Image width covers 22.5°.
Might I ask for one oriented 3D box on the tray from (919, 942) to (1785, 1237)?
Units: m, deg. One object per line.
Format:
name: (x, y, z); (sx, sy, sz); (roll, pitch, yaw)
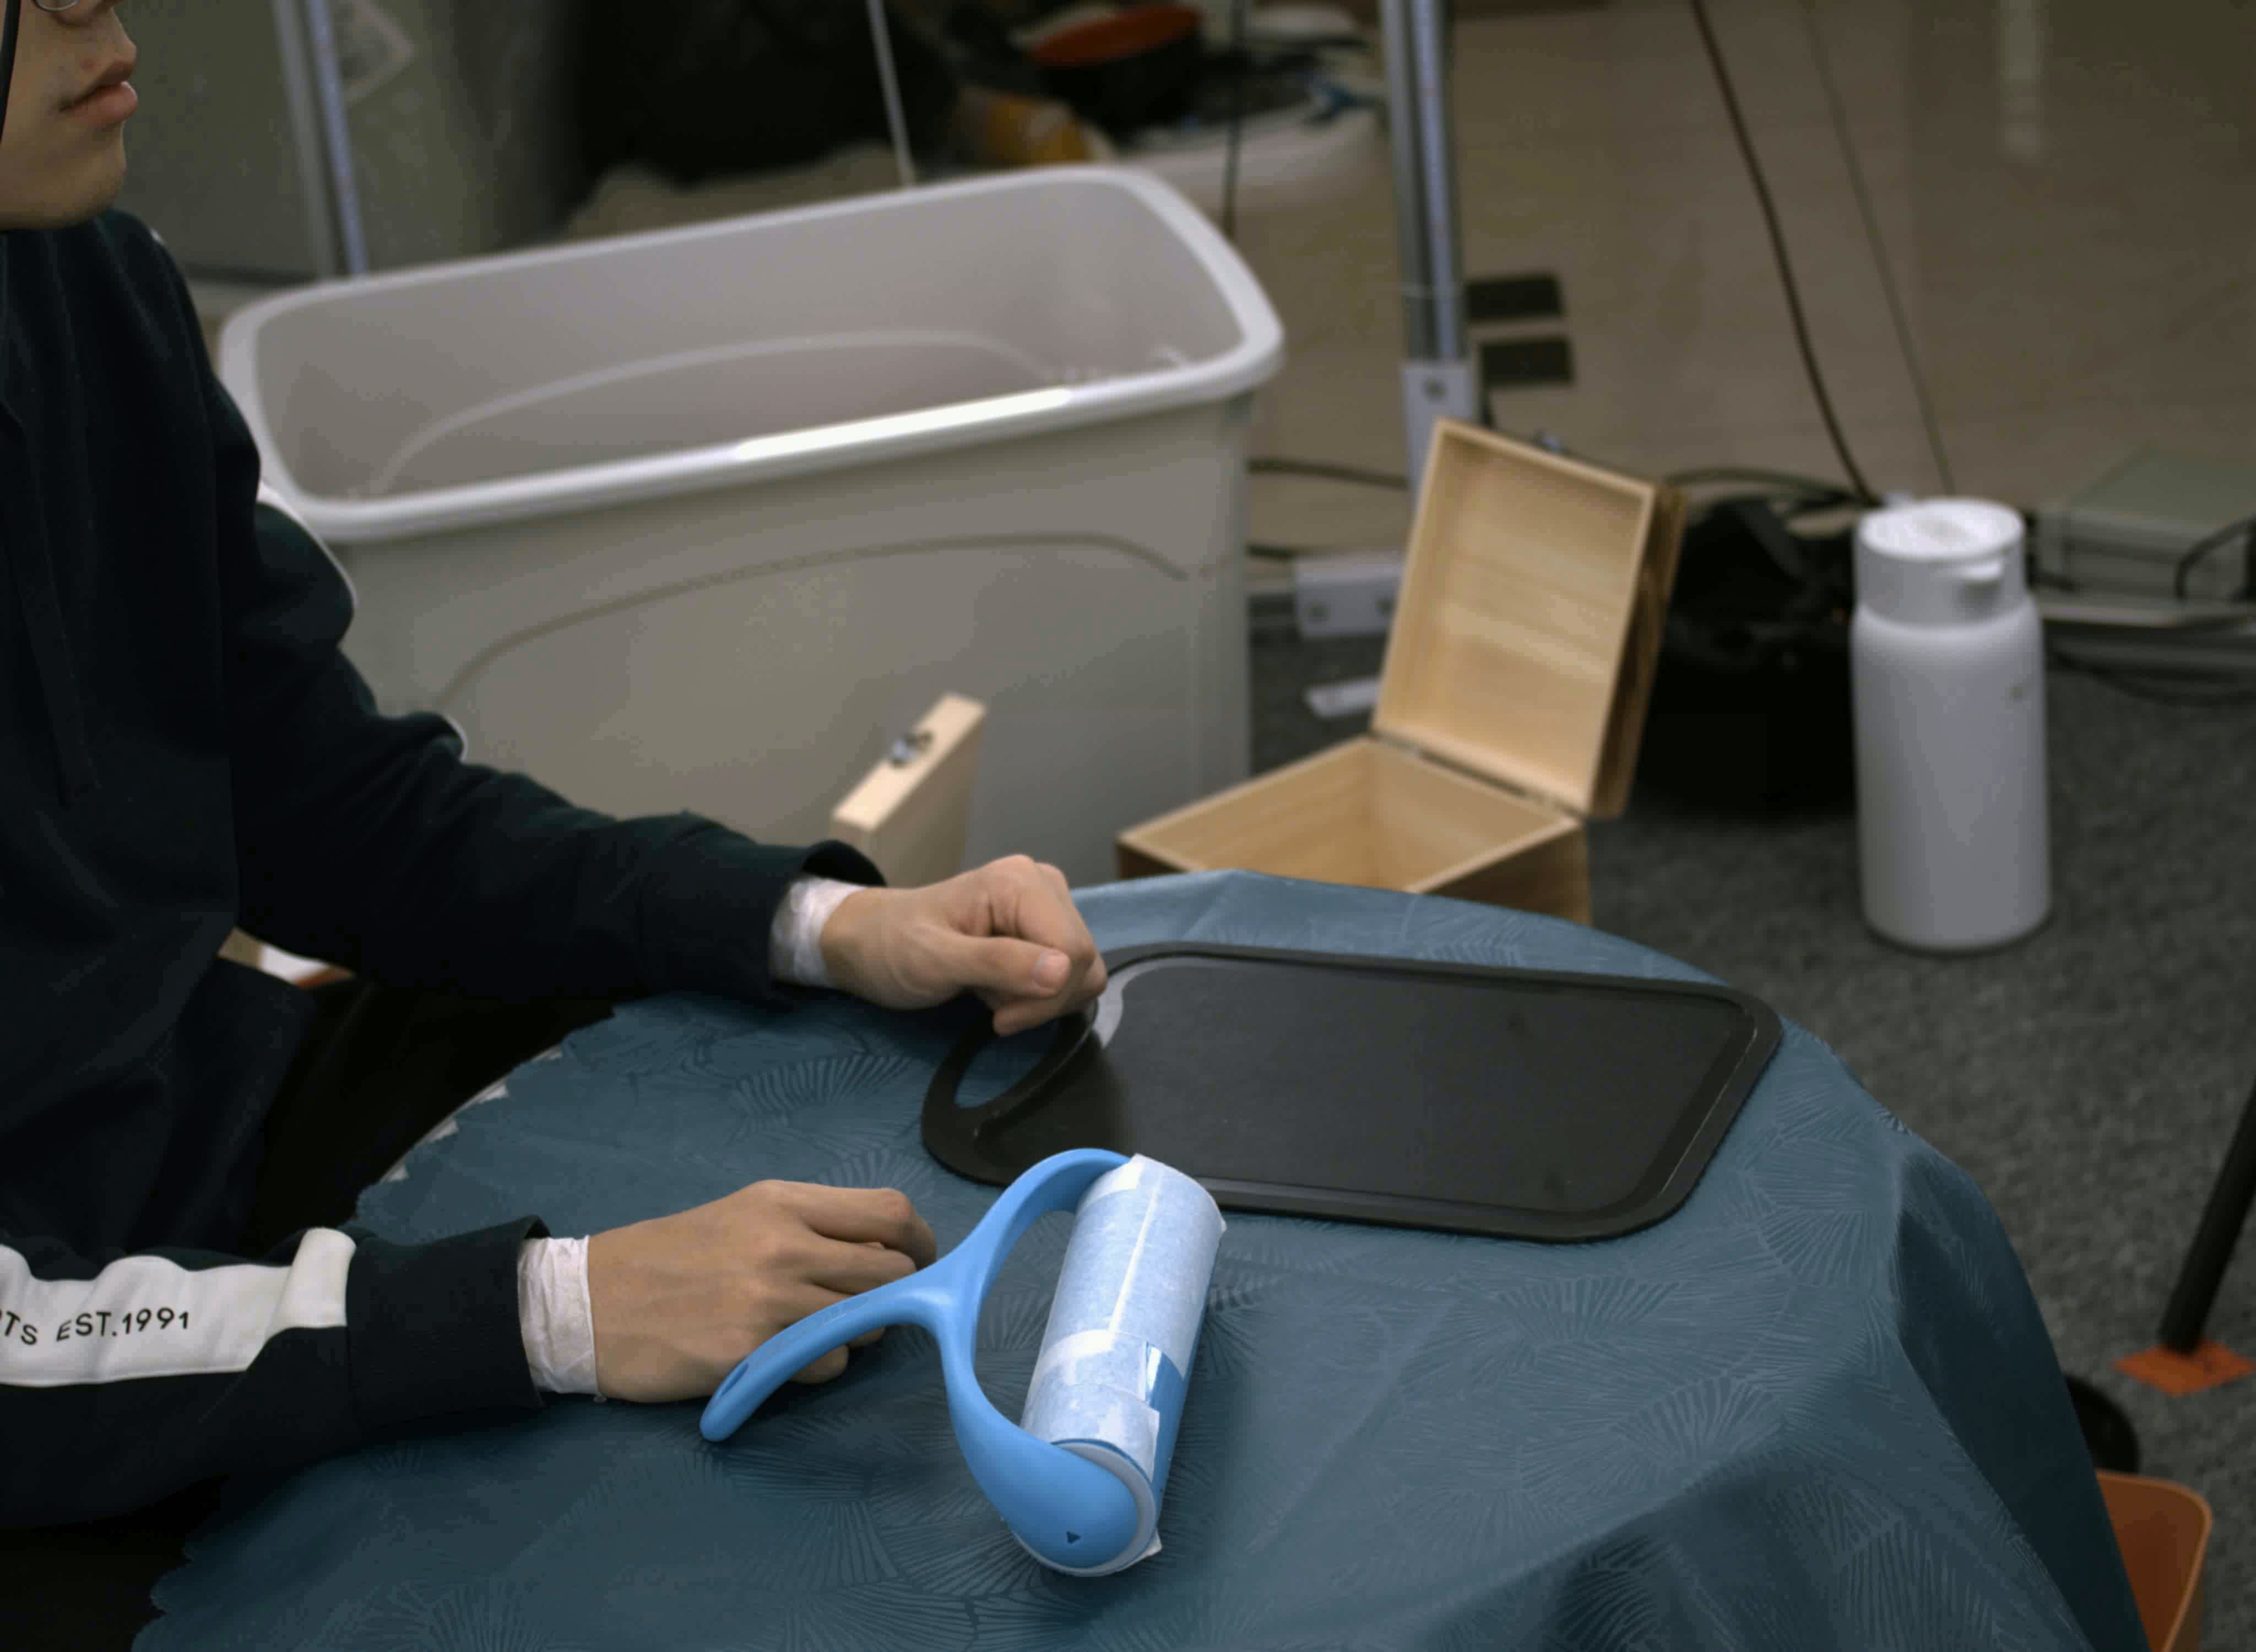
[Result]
tray: (0.080, 0.098, 2.203); (0.324, 0.010, 0.208); (4, 27, 23)

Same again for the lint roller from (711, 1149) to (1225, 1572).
lint roller: (-0.061, 0.188, 1.986); (0.180, 0.069, 0.225); (-3, 27, 6)
